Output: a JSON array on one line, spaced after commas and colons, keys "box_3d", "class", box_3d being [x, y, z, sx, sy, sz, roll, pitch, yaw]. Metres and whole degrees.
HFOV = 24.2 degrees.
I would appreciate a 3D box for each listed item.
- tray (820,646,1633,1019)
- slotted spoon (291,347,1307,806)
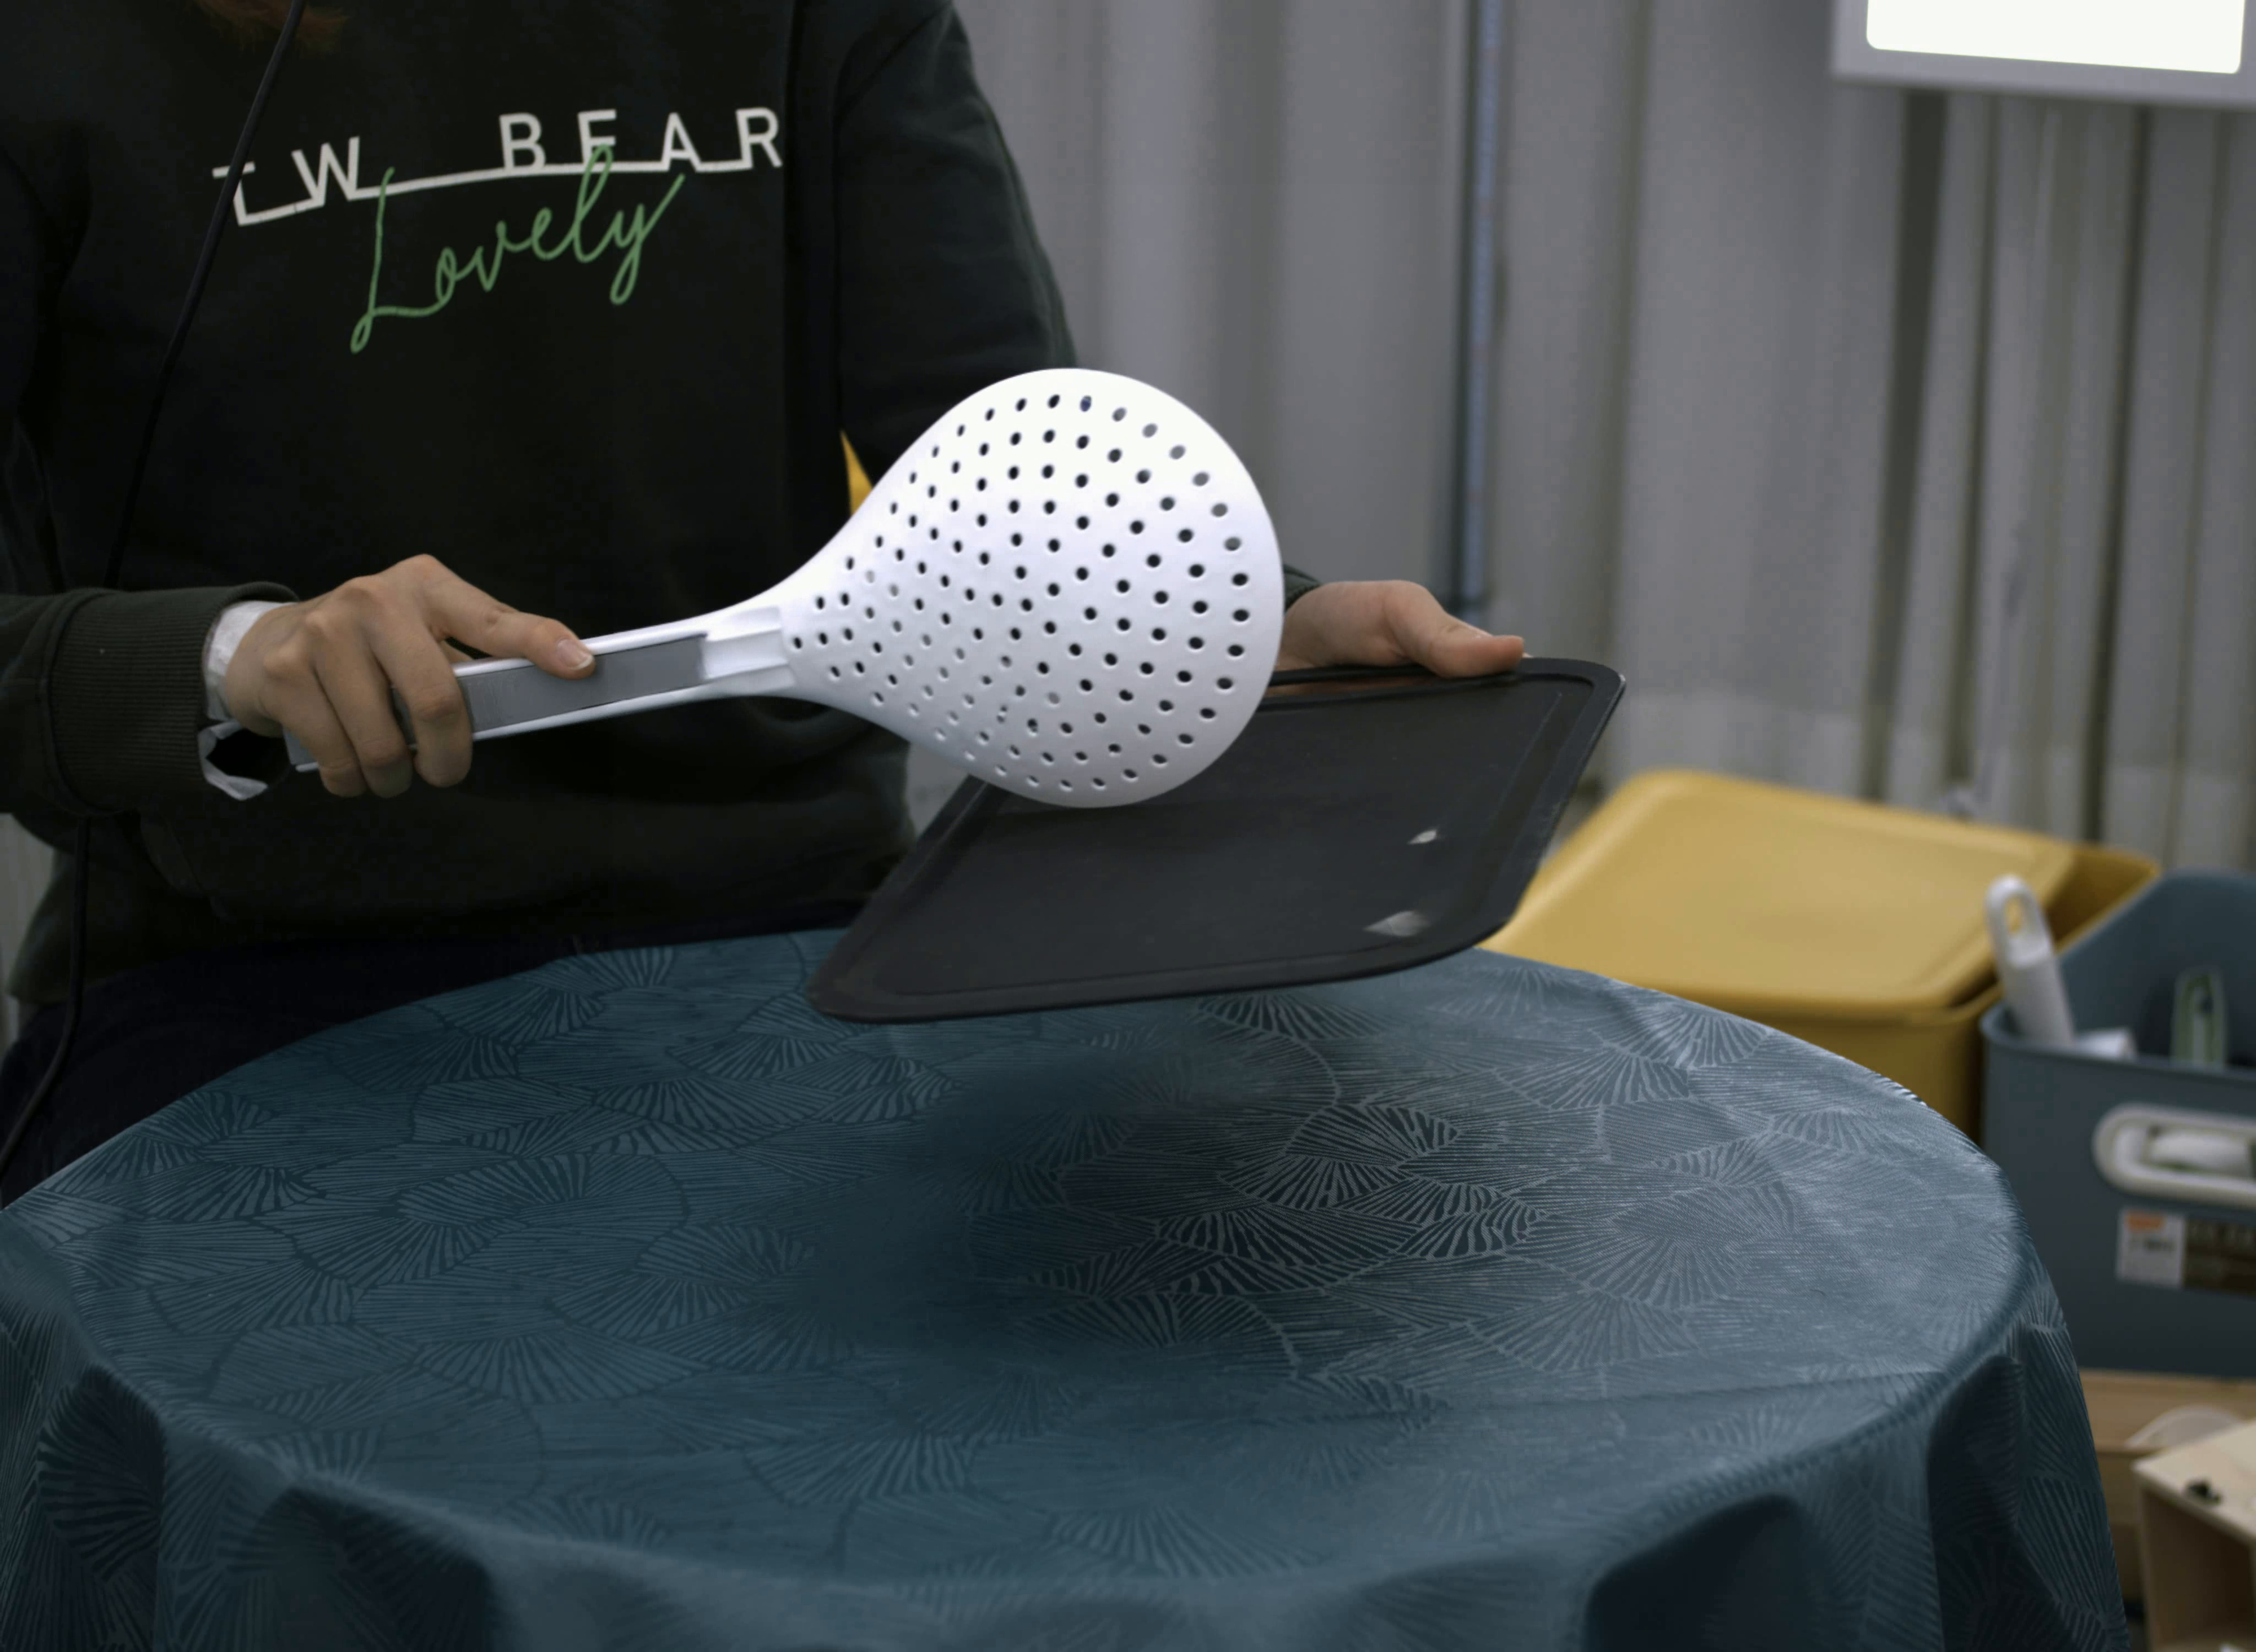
[{"box_3d": [0.037, -0.005, 1.600, 0.209, 0.010, 0.324, -6, 17, 15], "class": "tray"}, {"box_3d": [-0.111, -0.057, 1.655, 0.347, 0.137, 0.046, -12, 14, 24], "class": "slotted spoon"}]
